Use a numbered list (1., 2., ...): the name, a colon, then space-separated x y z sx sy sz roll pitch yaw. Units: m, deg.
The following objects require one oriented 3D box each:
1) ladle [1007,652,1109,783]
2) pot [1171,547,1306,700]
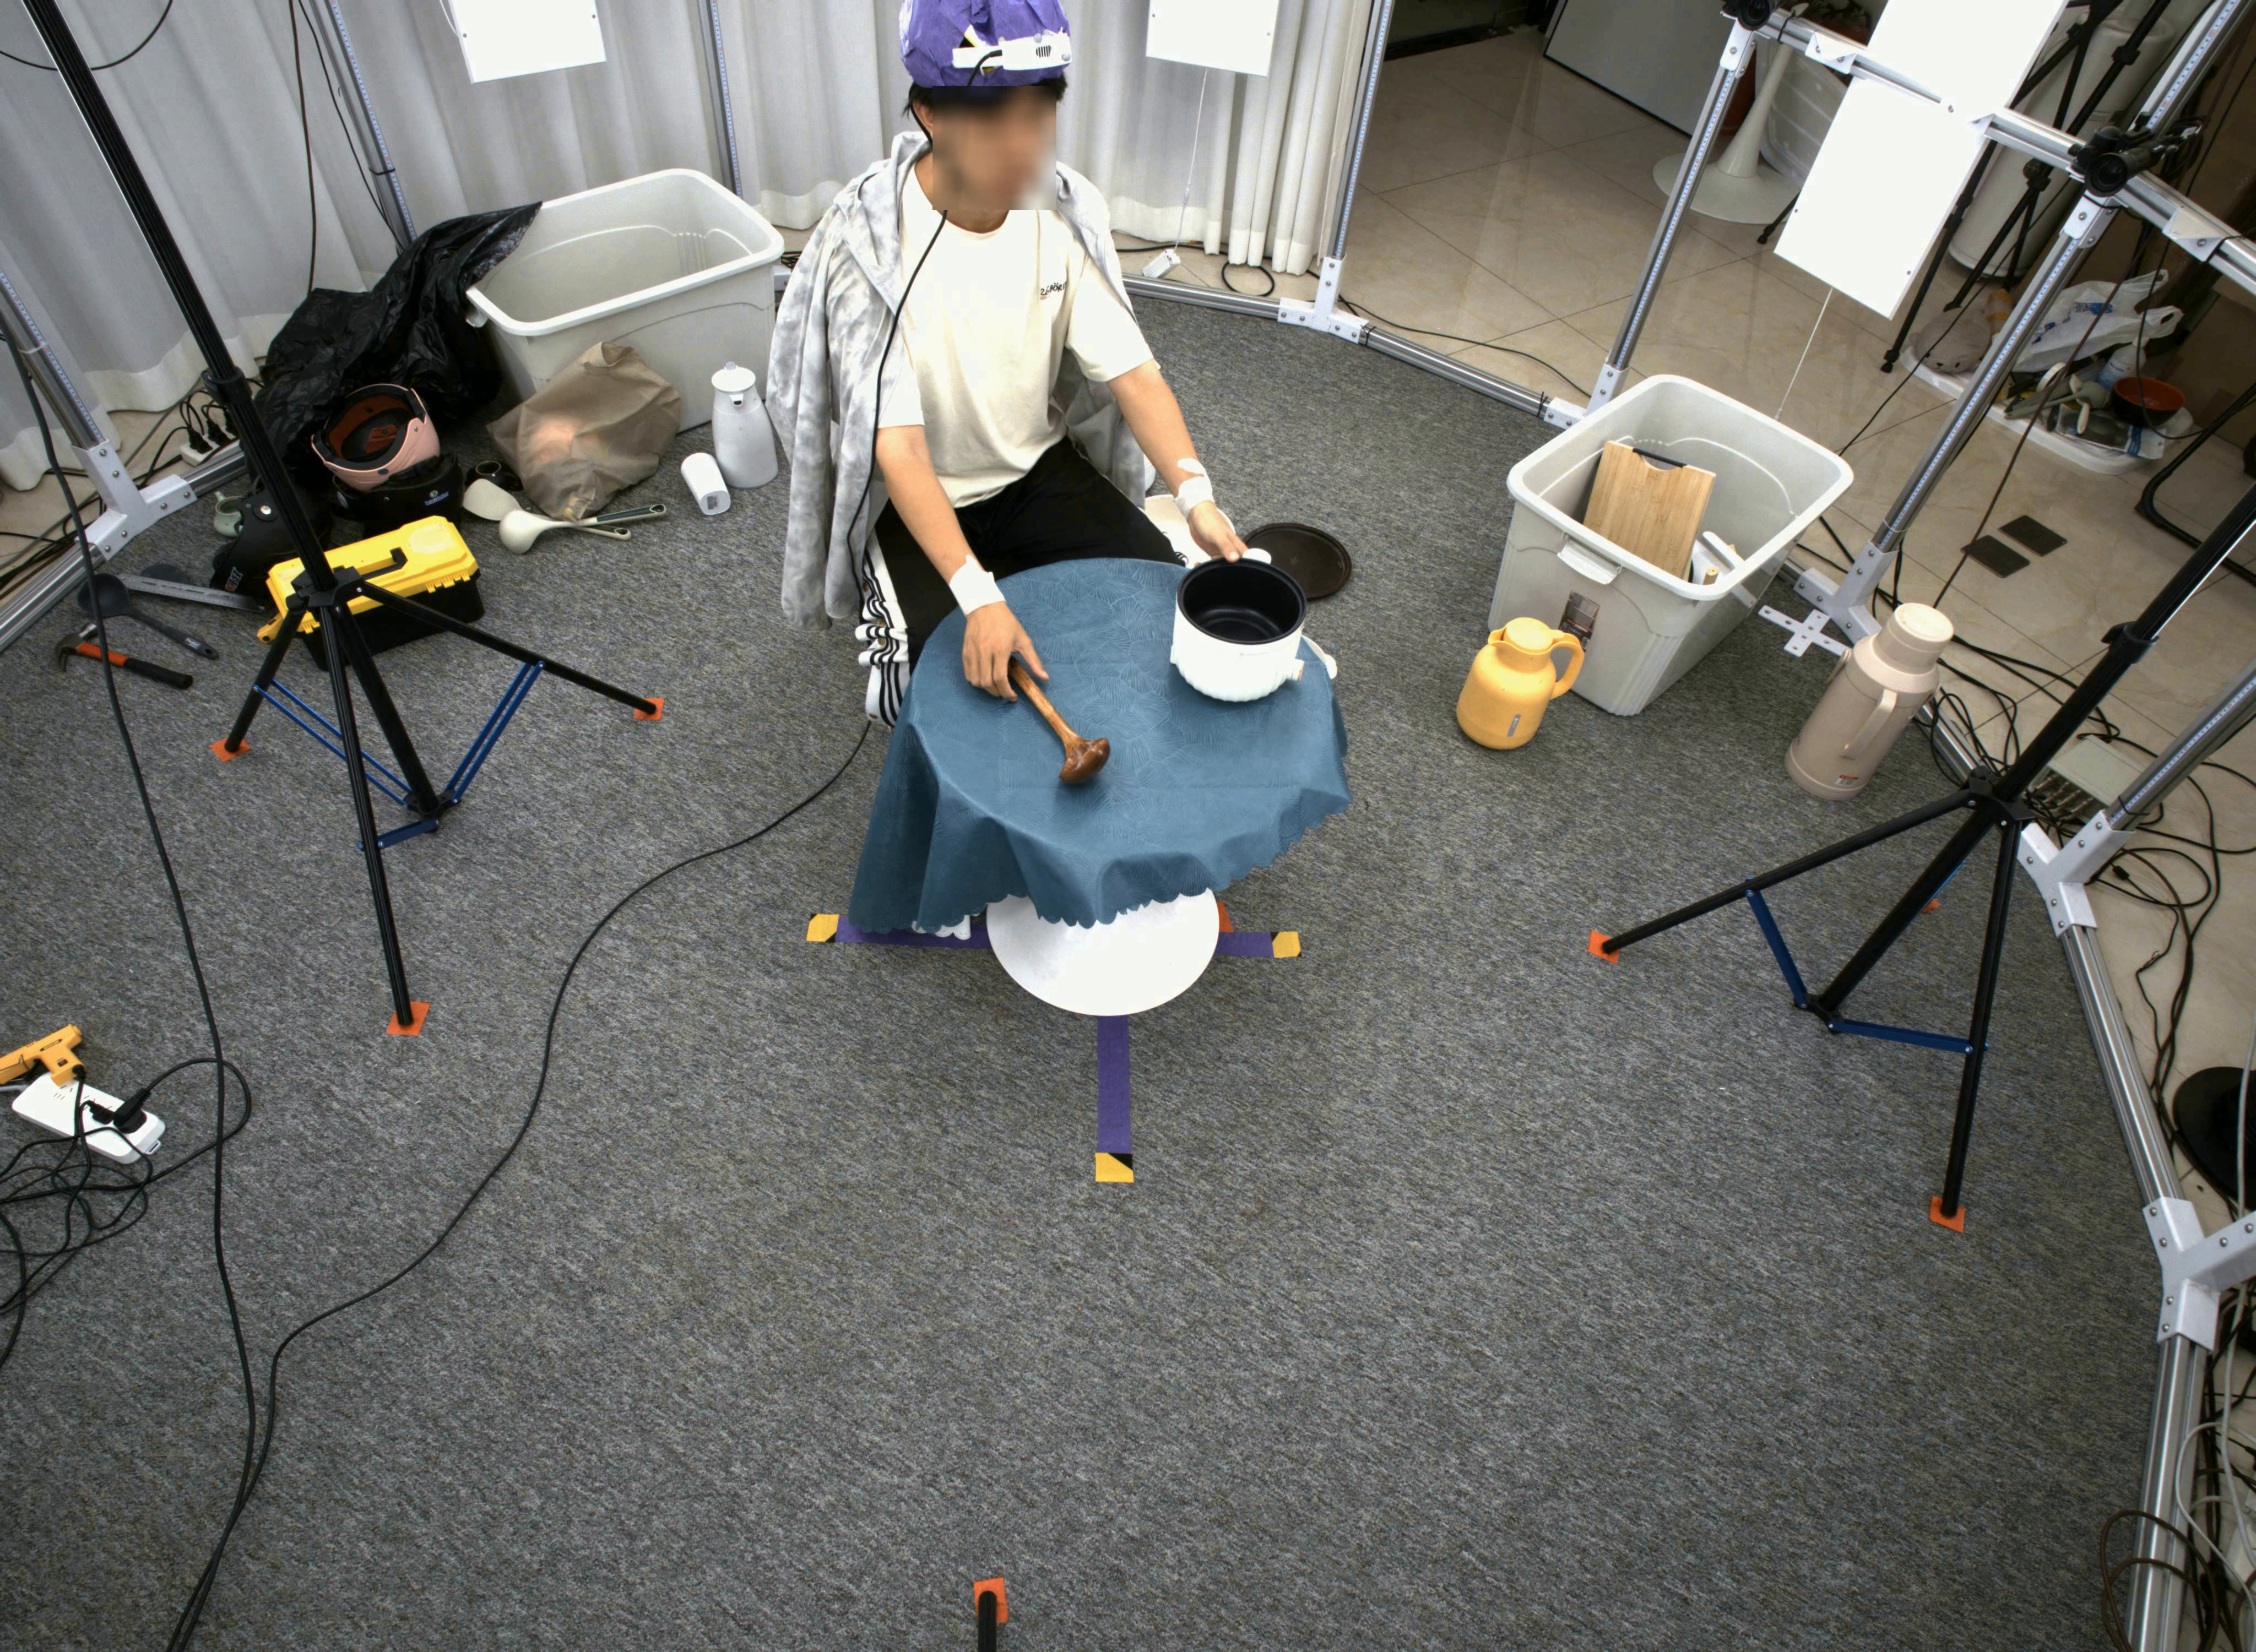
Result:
1. ladle: -0.111 -0.161 1.744 0.082 0.075 0.280 -35 57 -1
2. pot: 0.159 -0.273 1.819 0.191 0.139 0.245 11 50 11
